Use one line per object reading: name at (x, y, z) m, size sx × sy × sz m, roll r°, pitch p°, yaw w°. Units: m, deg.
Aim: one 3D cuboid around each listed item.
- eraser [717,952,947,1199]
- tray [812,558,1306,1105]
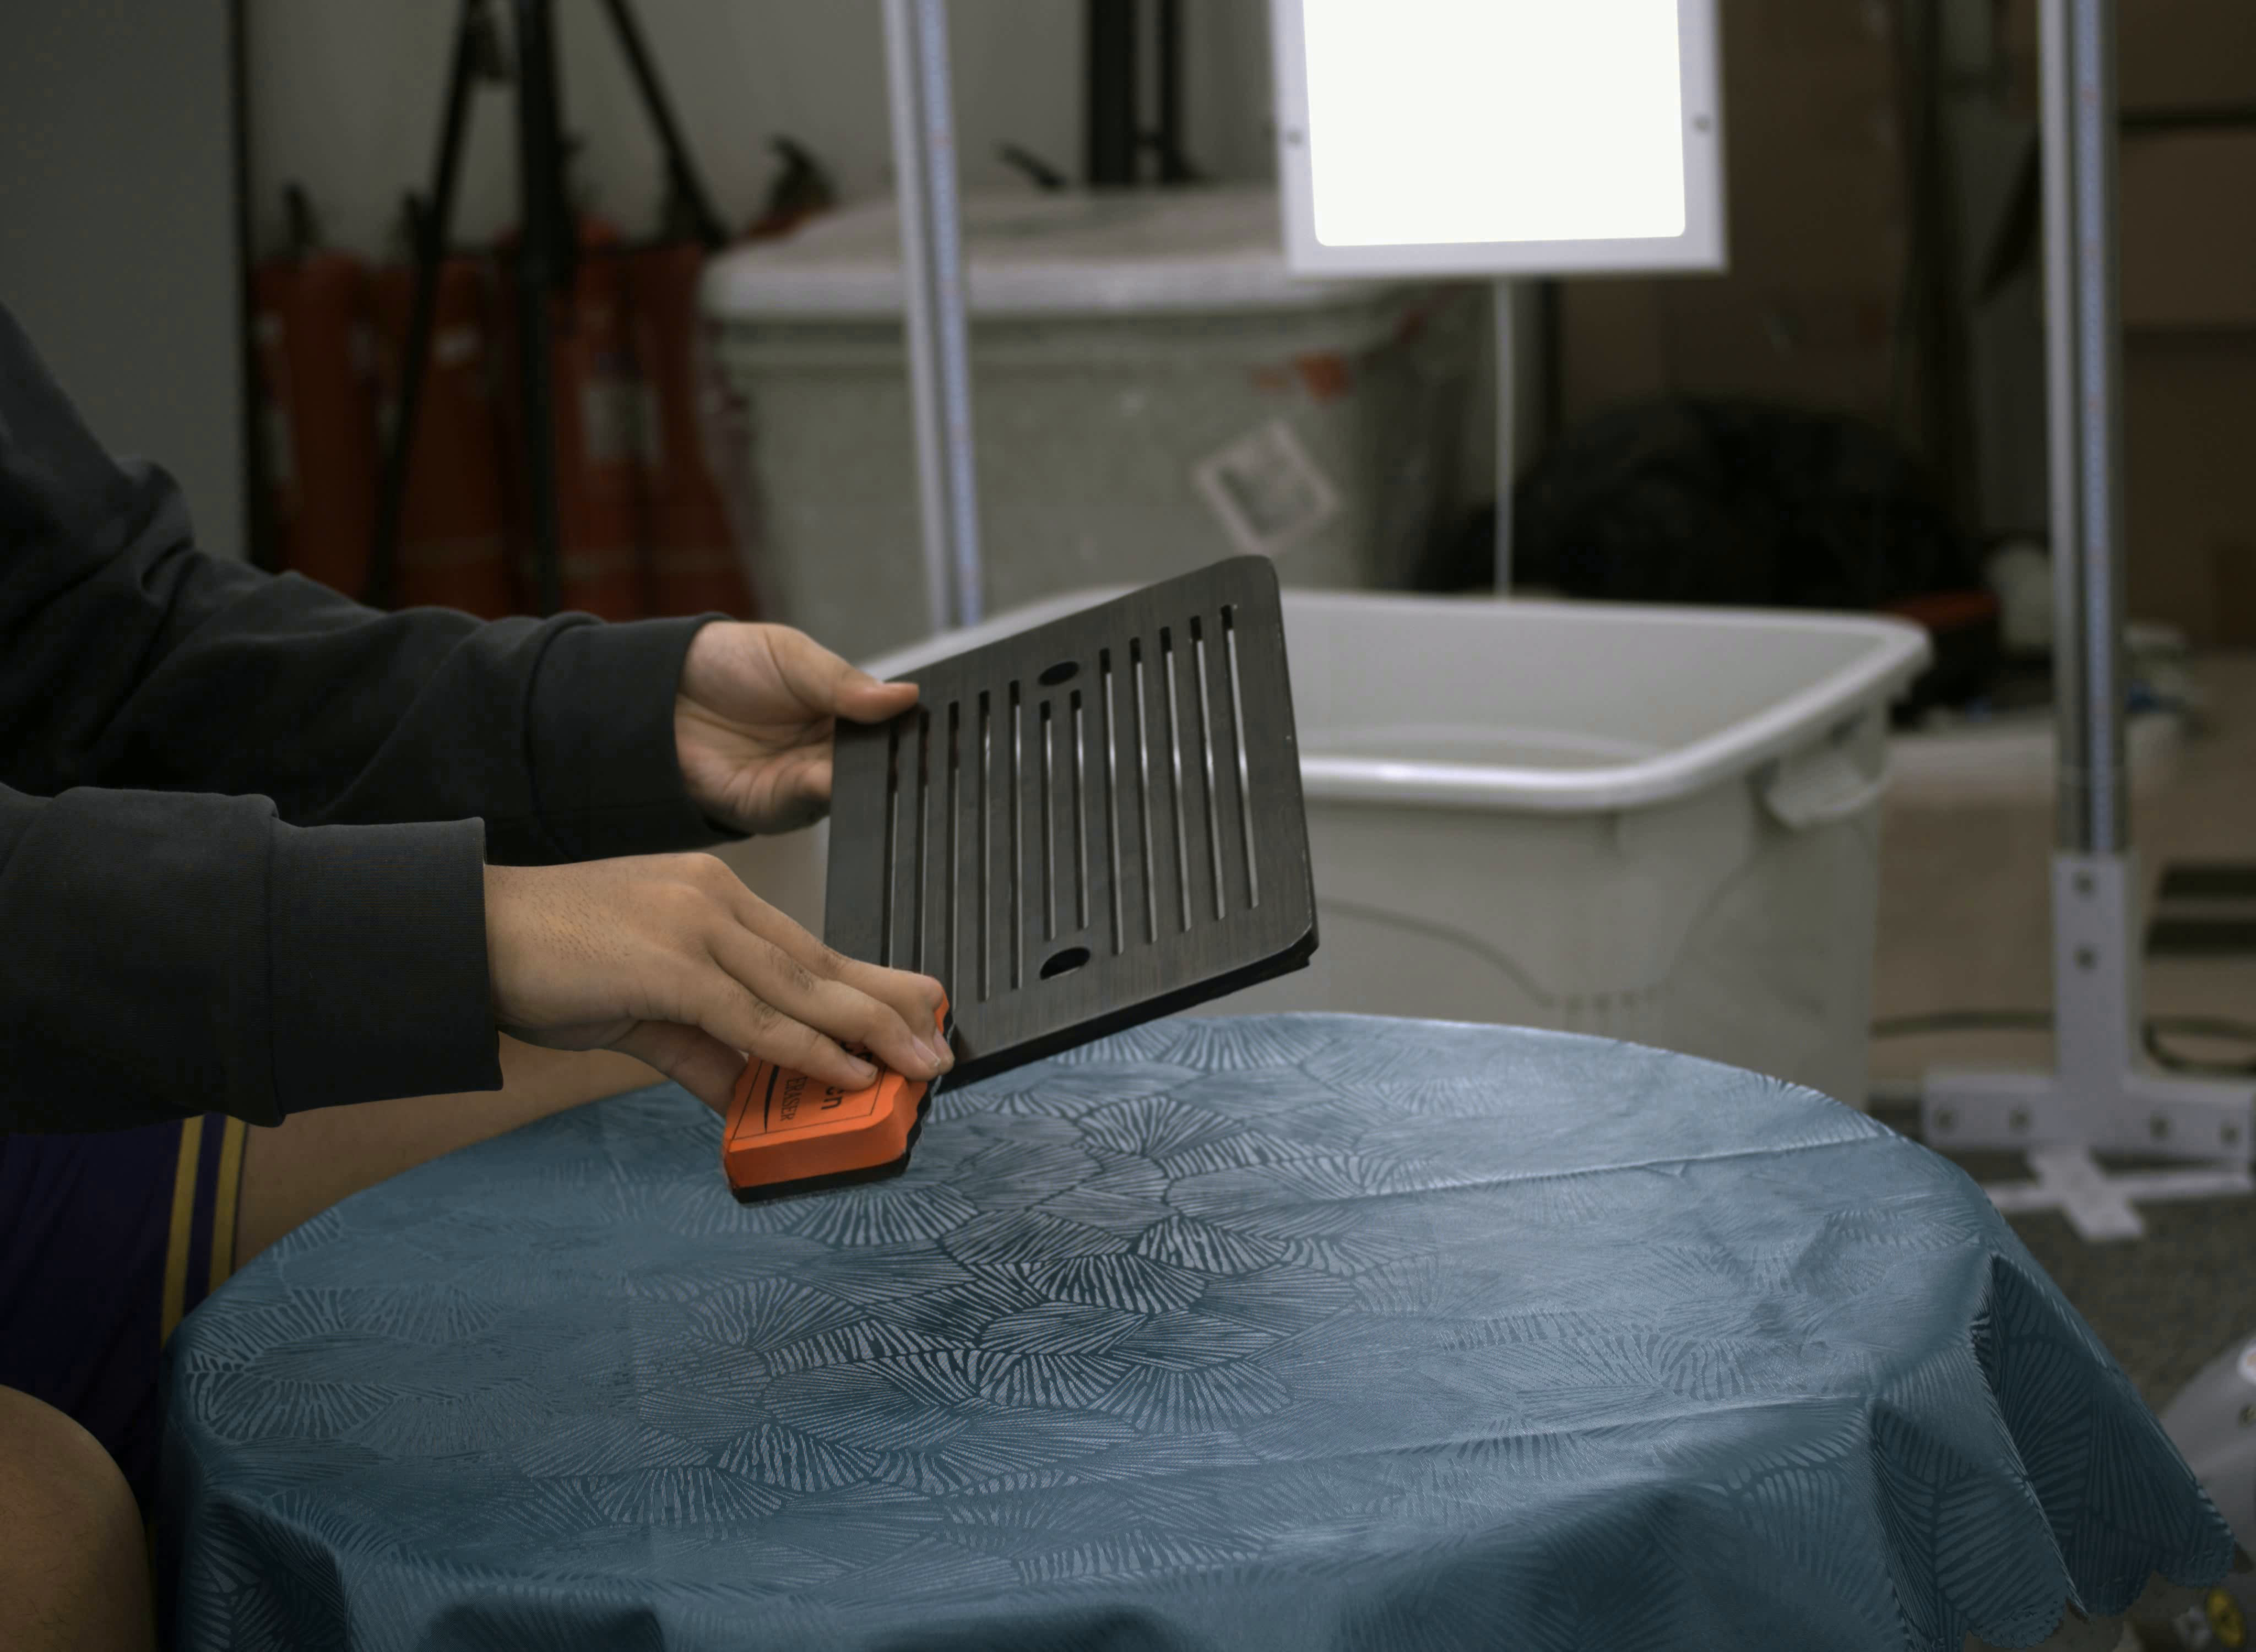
eraser at (-0.091, 0.077, 1.716) m, size 0.059 × 0.023 × 0.107 m, roll -11°, pitch 26°, yaw 13°
tray at (-0.025, 0.003, 1.860) m, size 0.171 × 0.018 × 0.305 m, roll -20°, pitch 26°, yaw 10°
